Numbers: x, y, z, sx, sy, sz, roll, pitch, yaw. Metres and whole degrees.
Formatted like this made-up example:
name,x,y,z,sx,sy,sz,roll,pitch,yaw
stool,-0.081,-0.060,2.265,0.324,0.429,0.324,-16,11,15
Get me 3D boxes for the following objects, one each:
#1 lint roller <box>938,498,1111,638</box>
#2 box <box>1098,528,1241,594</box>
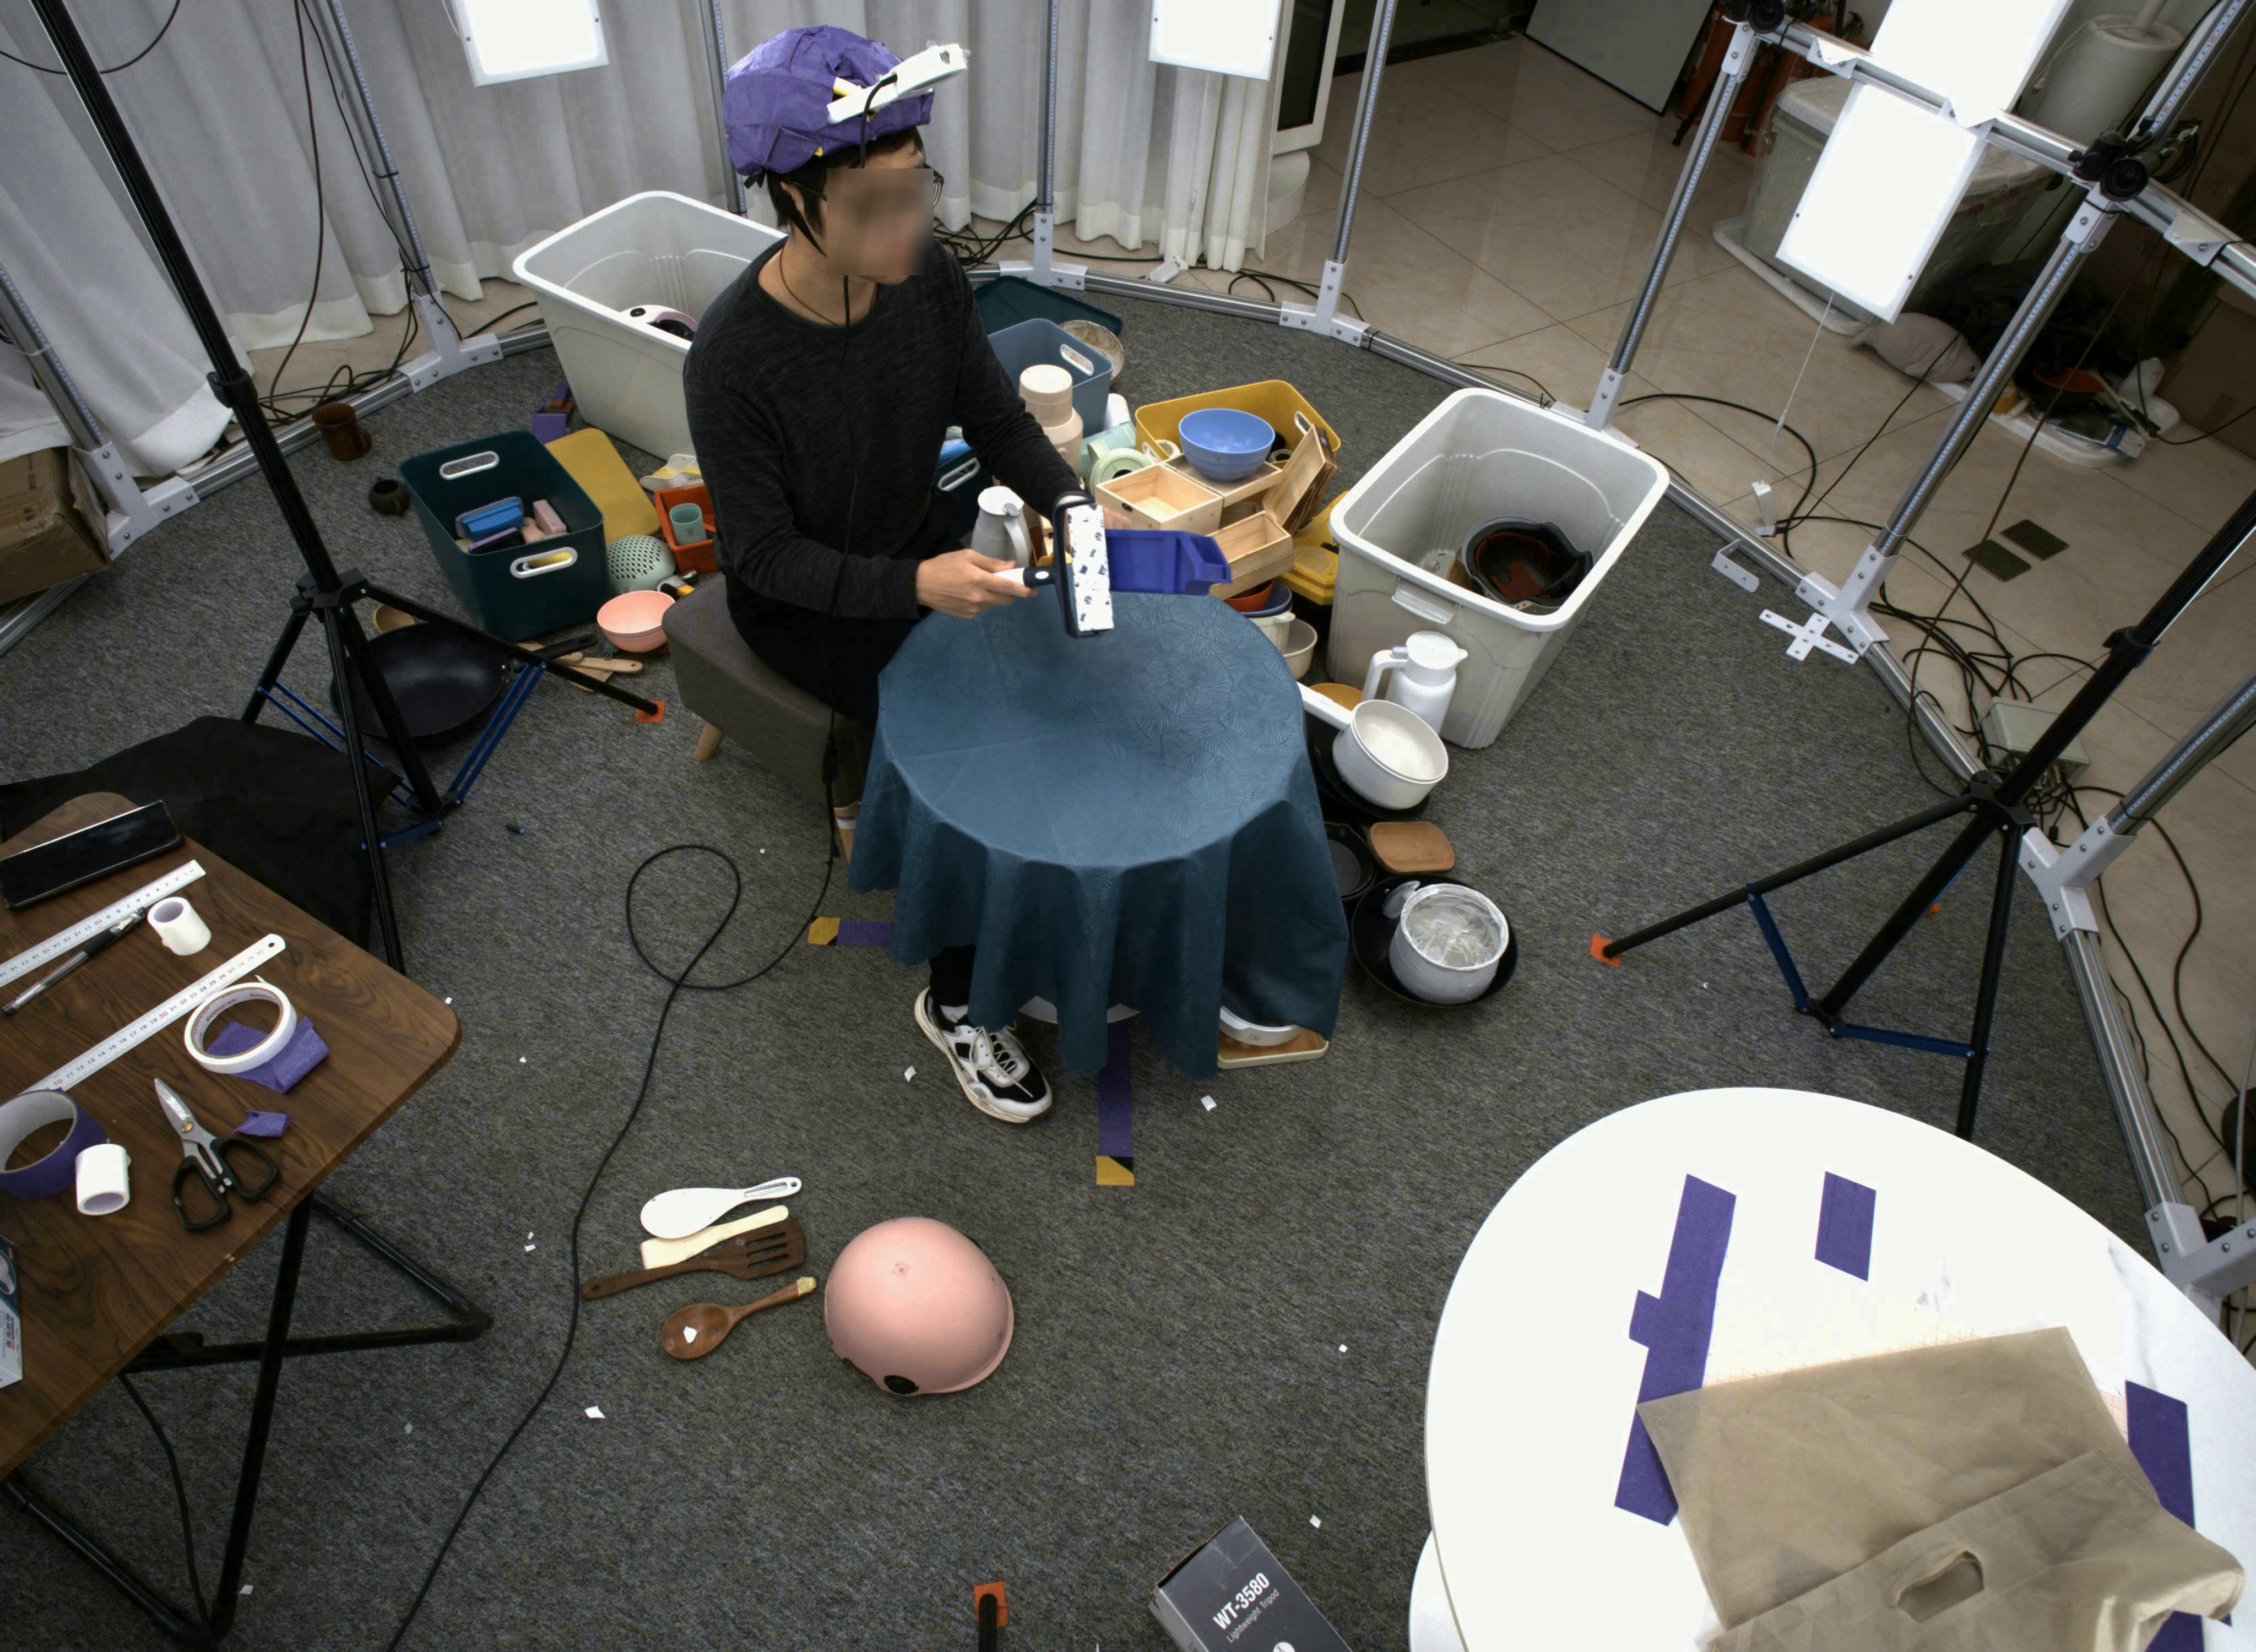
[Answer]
name,x,y,z,sx,sy,sz,roll,pitch,yaw
lint roller,-0.145,-0.327,1.708,0.247,0.176,0.050,-4,4,21
box,0.049,-0.353,1.721,0.180,0.081,0.124,4,8,23
